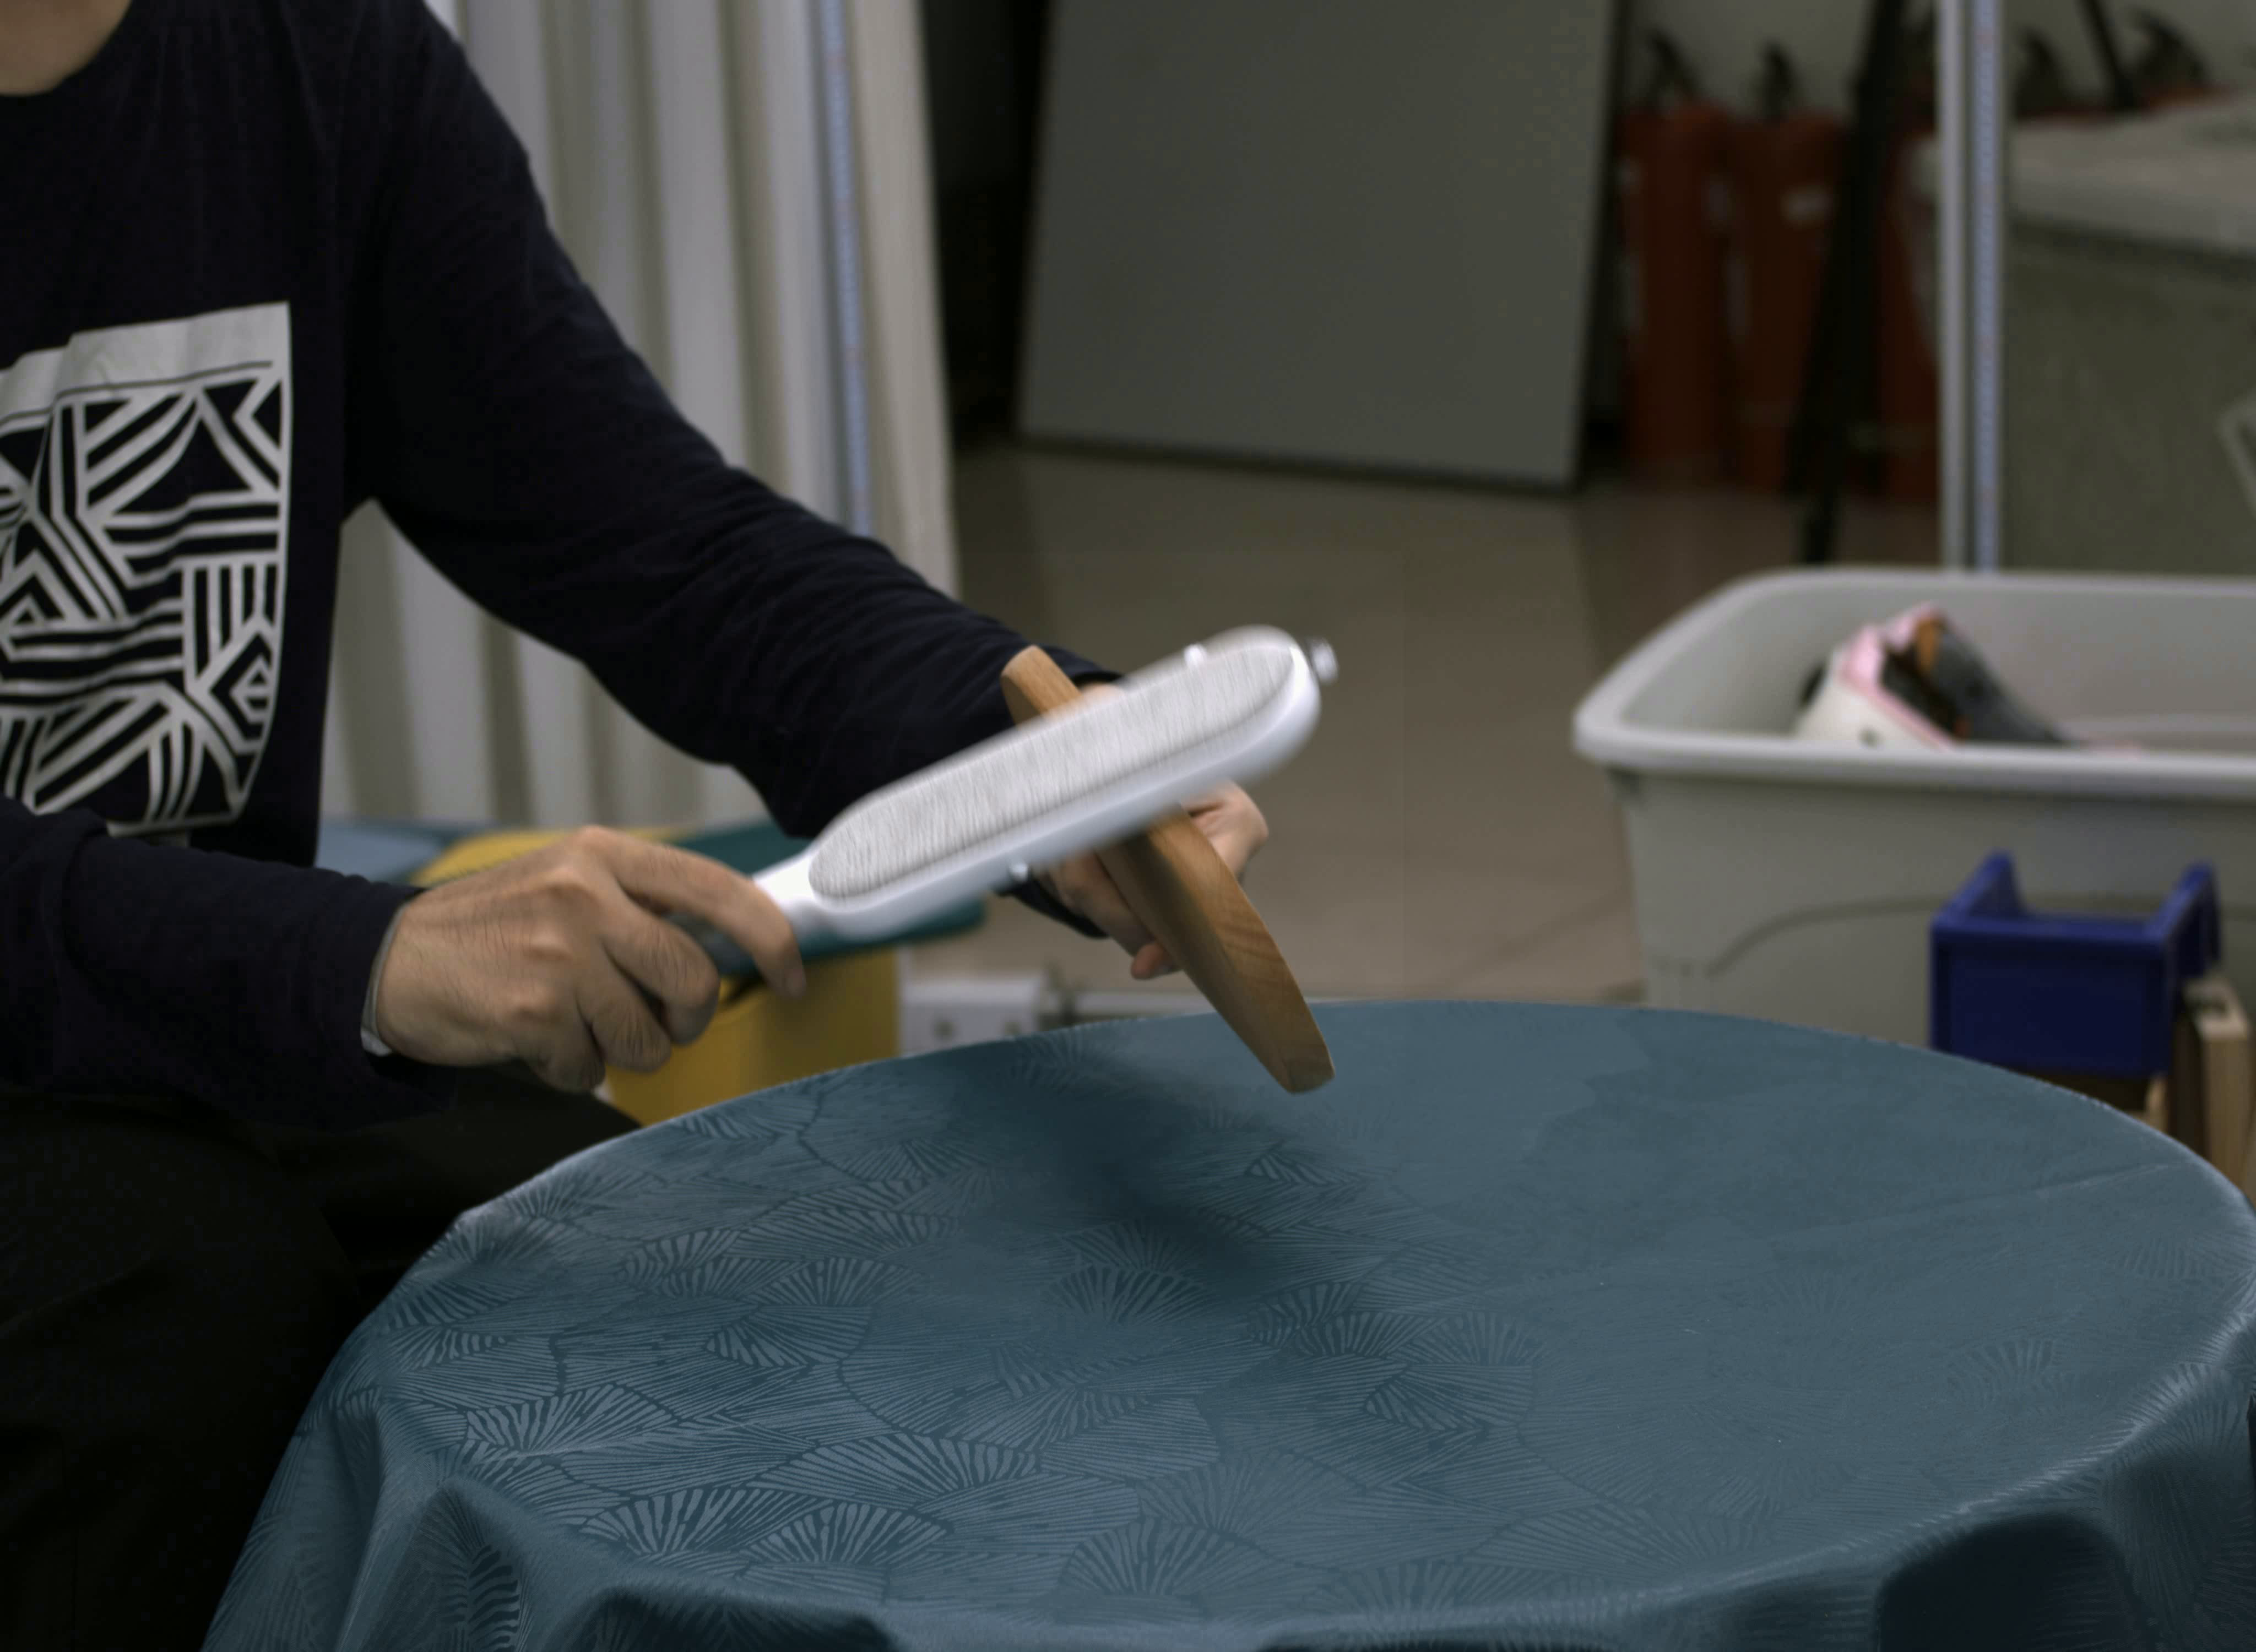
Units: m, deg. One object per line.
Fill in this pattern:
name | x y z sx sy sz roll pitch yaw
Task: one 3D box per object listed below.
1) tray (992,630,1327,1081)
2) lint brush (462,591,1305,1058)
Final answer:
tray | 0.007 0.009 1.742 0.020 0.101 0.233 -28 31 -10
lint brush | -0.080 0.003 1.717 0.308 0.021 0.060 -26 39 16
